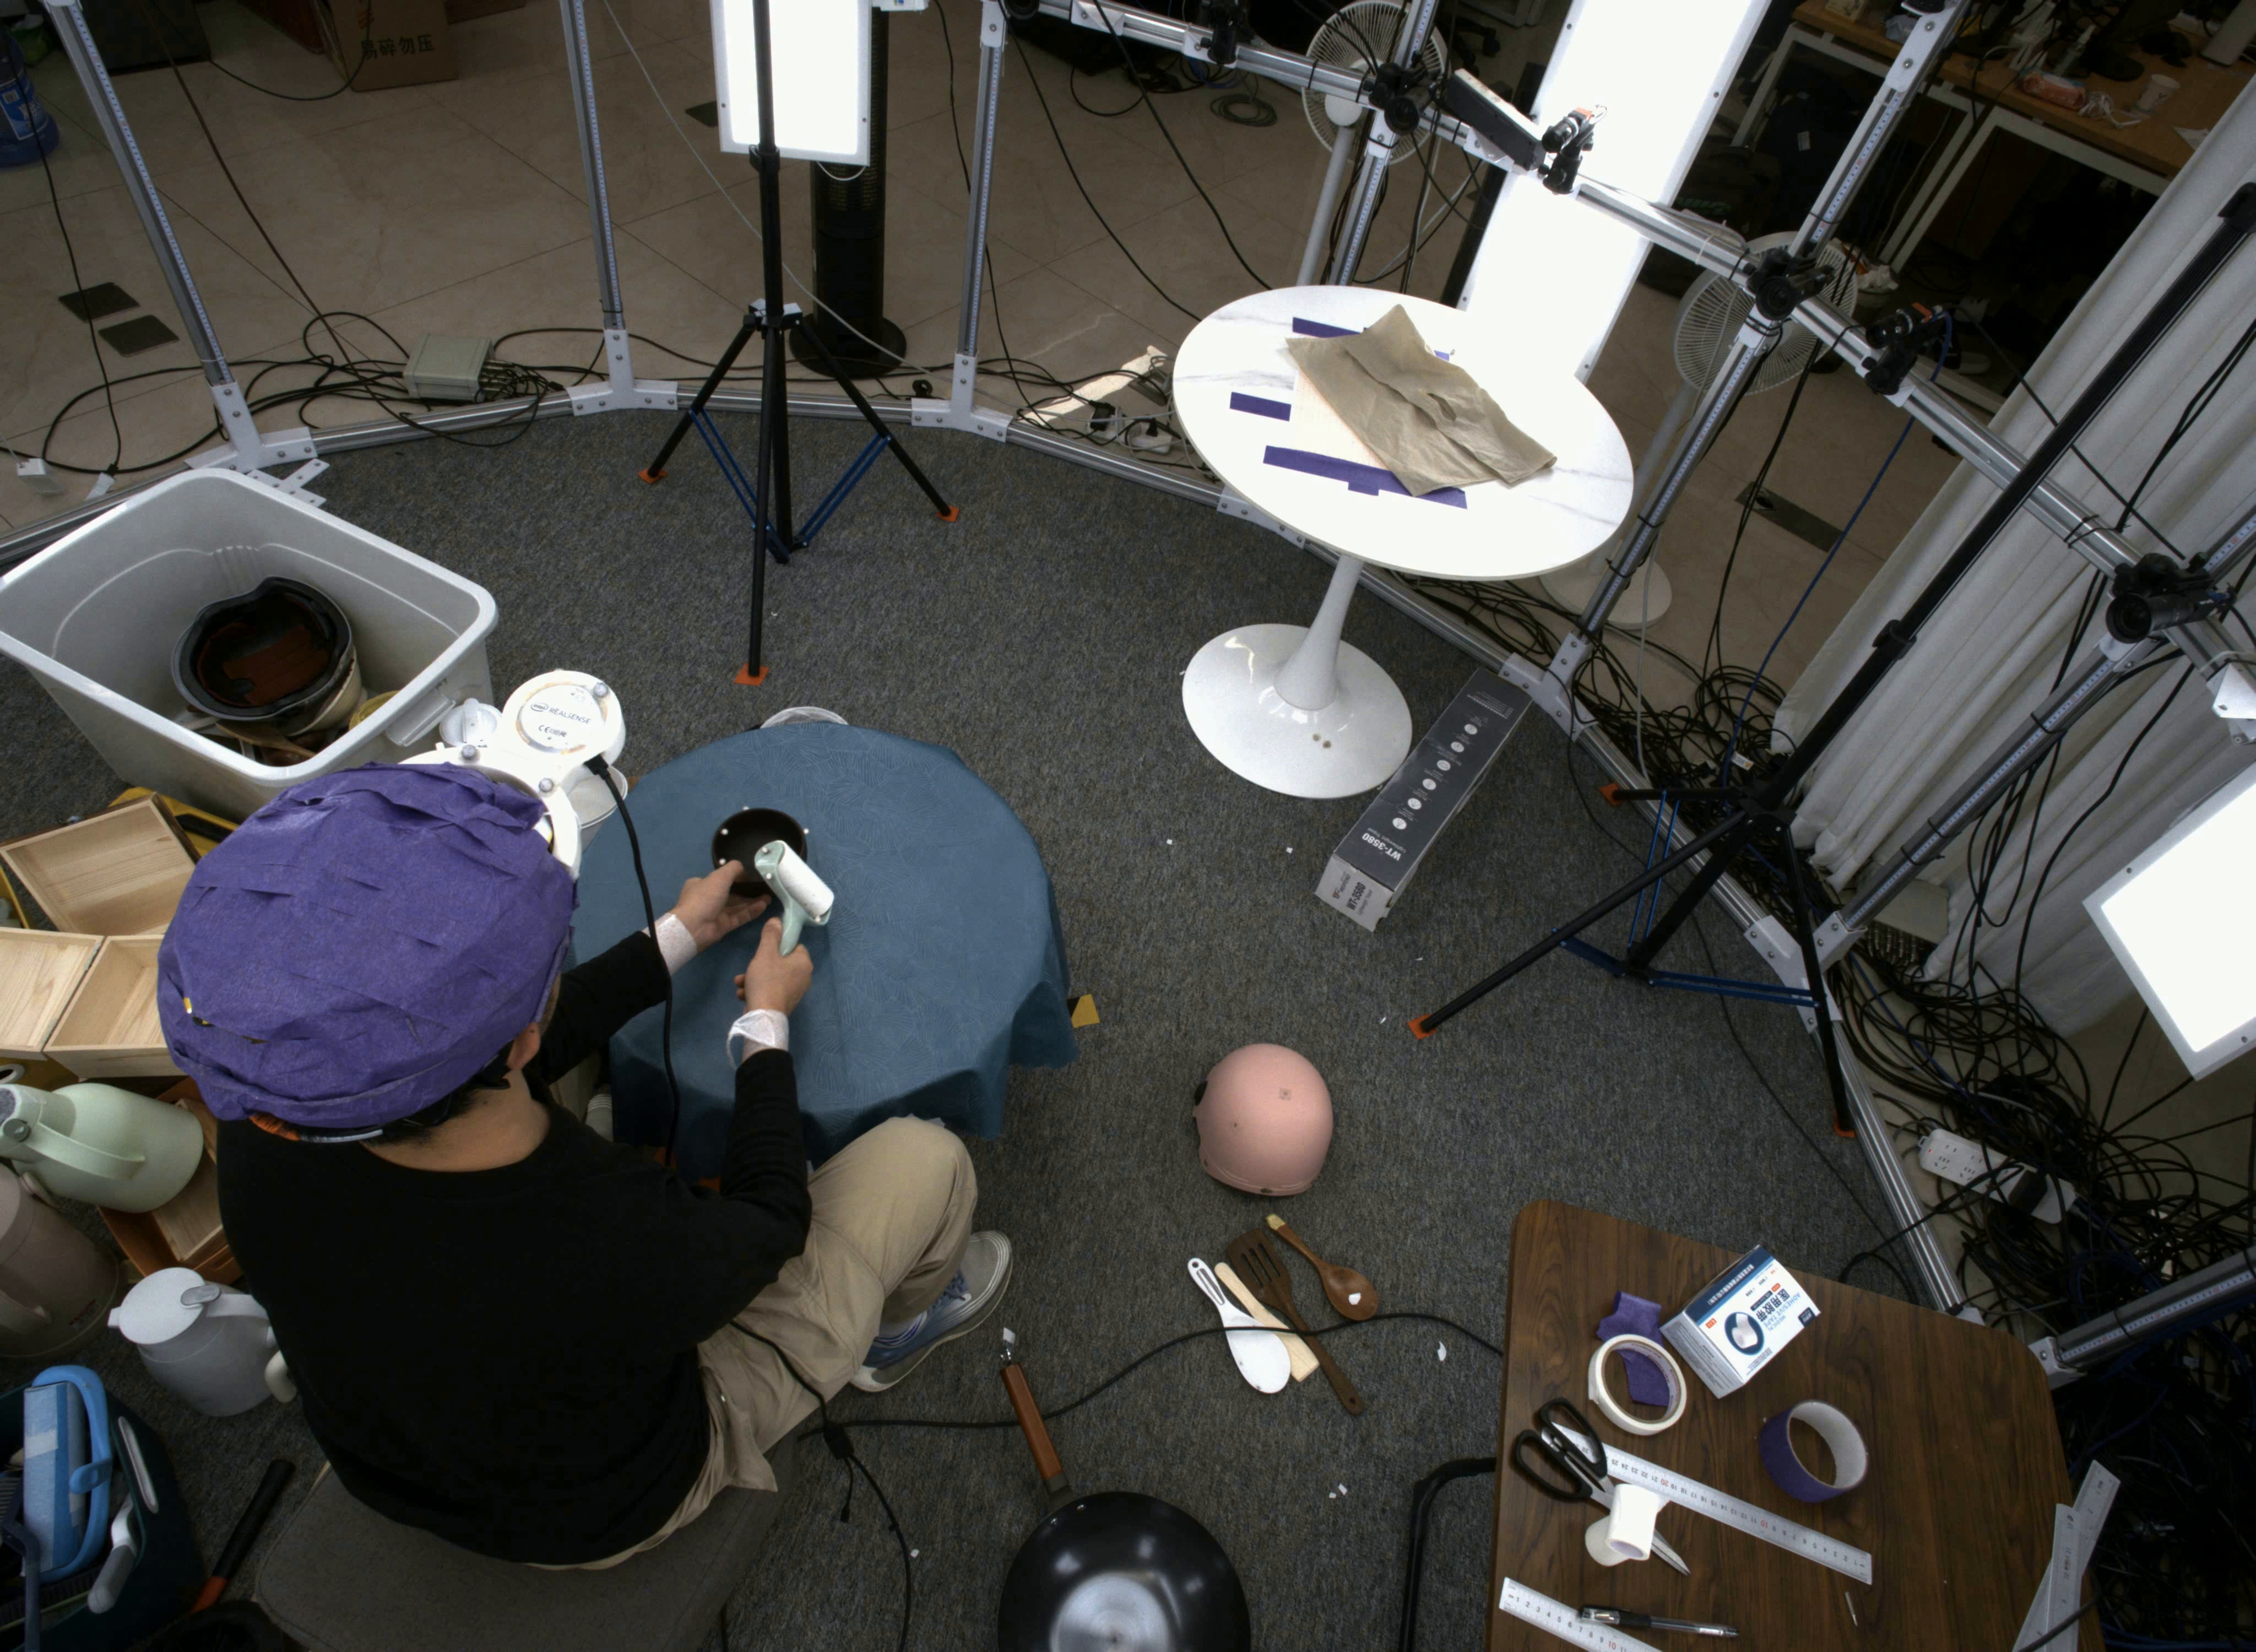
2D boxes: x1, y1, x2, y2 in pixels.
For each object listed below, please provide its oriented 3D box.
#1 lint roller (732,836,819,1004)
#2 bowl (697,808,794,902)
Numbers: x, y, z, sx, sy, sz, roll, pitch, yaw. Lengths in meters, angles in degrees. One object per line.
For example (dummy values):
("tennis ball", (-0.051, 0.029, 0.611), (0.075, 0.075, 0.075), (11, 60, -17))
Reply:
("lint roller", (-0.424, 0.115, 1.516), (0.047, 0.121, 0.194), (-14, 48, 19))
("bowl", (-0.479, 0.043, 1.625), (0.118, 0.071, 0.116), (7, 54, -8))
